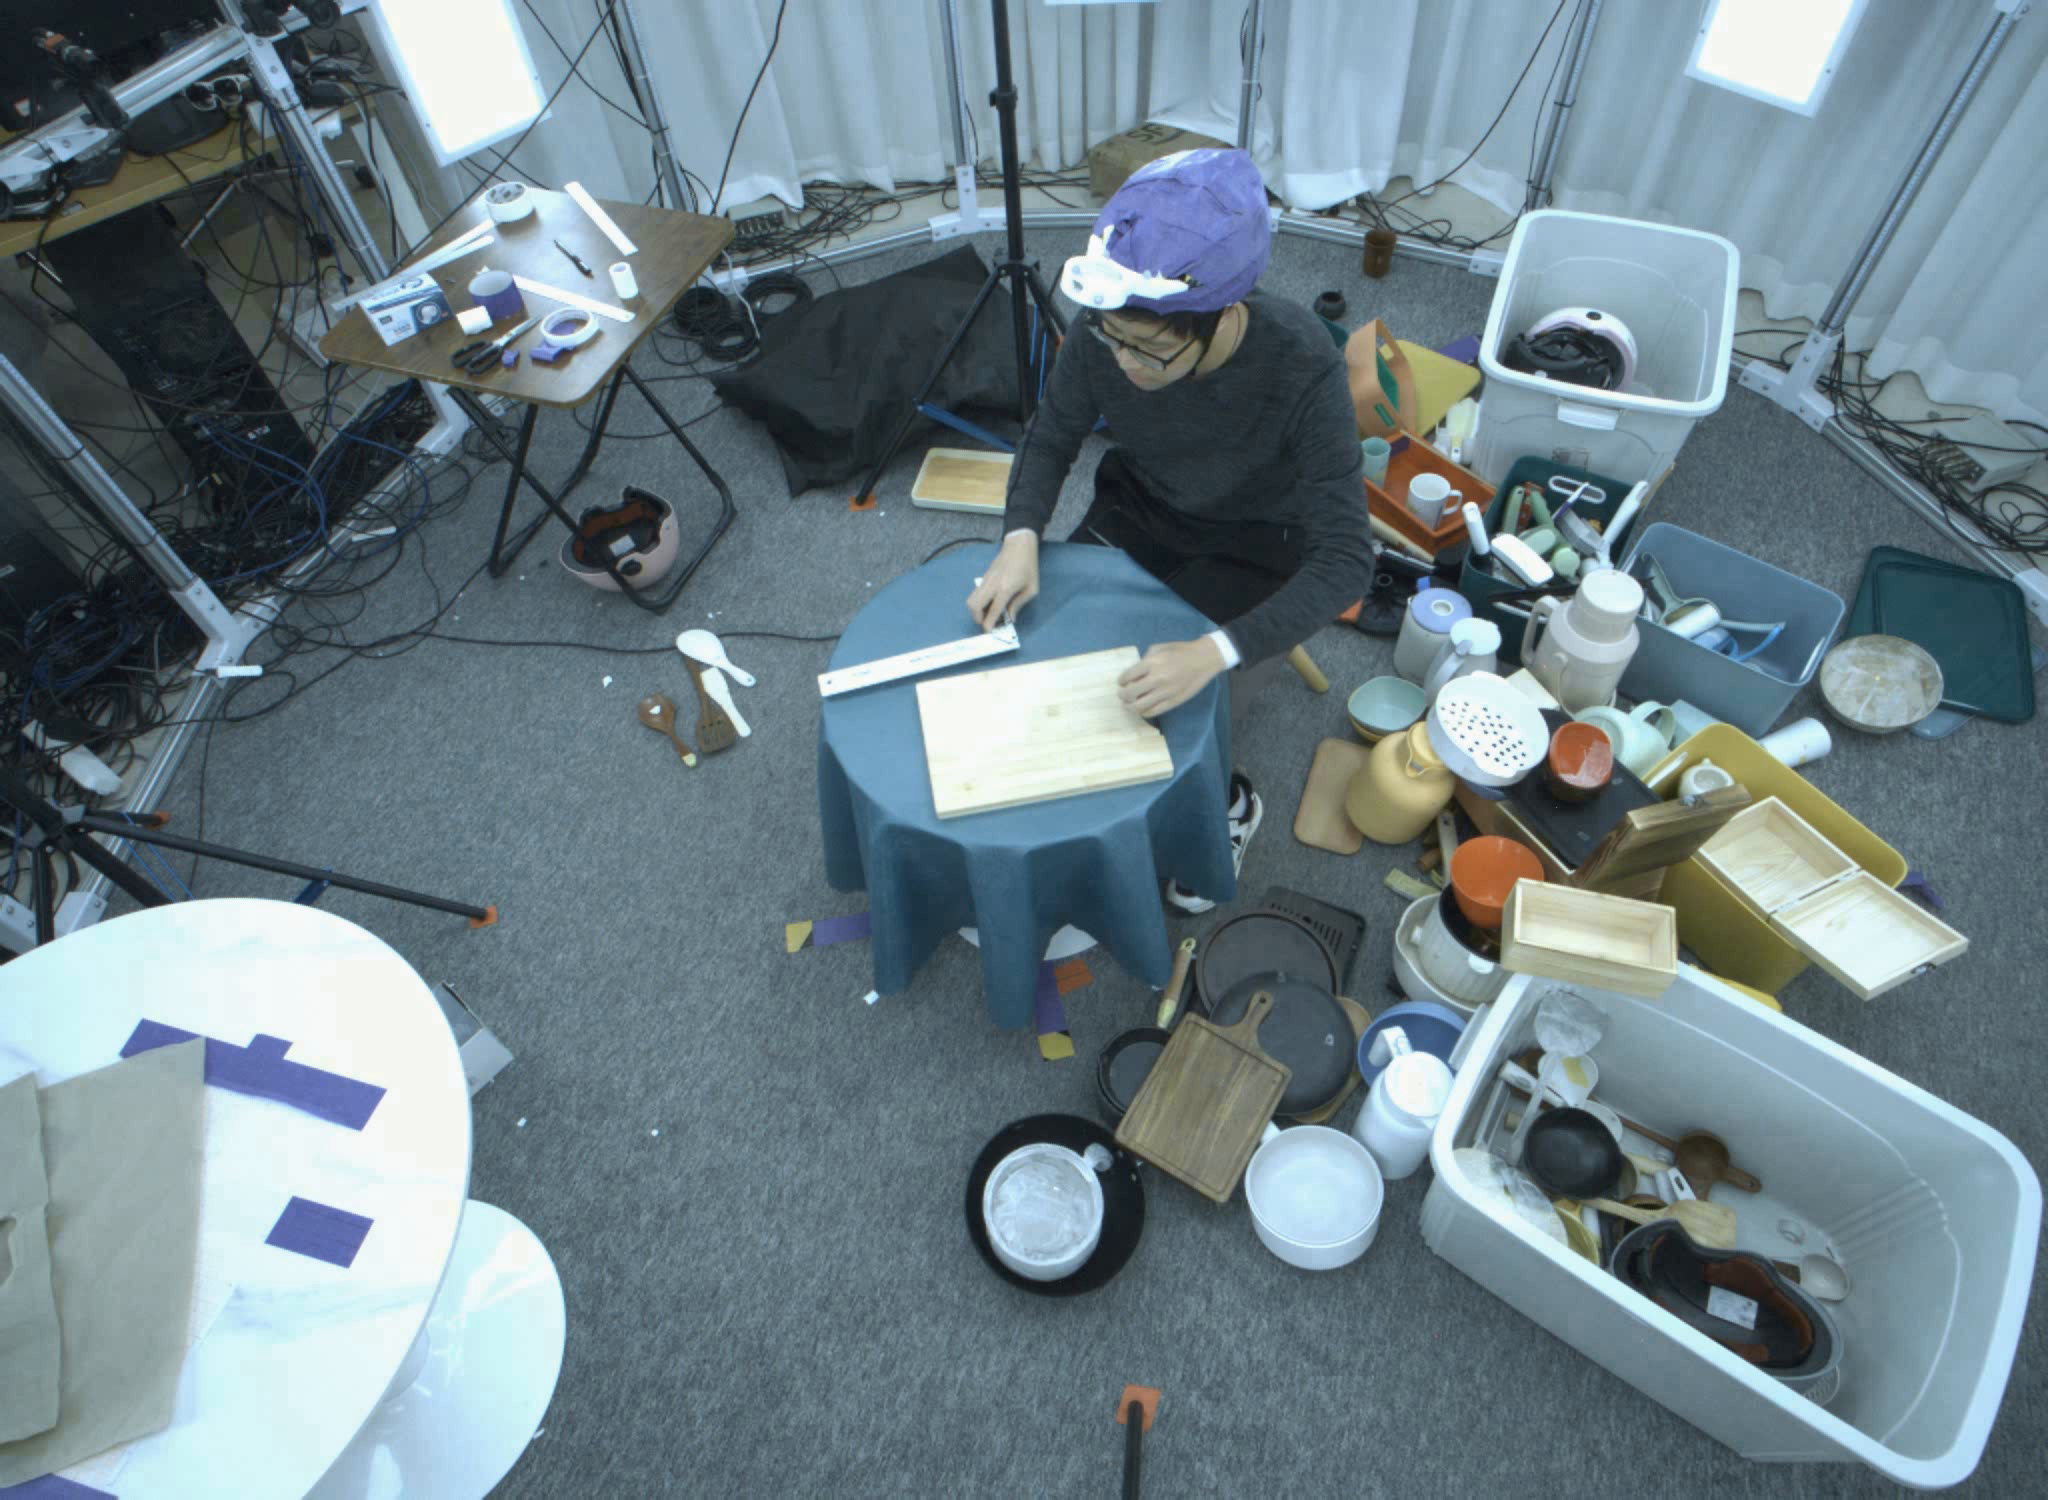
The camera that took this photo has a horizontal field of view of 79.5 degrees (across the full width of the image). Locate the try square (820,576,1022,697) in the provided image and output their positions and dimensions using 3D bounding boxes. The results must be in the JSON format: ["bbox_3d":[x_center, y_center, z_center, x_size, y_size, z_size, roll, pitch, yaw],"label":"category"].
[{"bbox_3d":[-0.170,-0.178,1.898,0.314,0.016,0.150,-14,57,-7],"label":"try square"}]

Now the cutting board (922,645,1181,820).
[{"bbox_3d":[0.030,-0.031,1.799,0.350,0.024,0.247,-11,55,-5],"label":"cutting board"}]
